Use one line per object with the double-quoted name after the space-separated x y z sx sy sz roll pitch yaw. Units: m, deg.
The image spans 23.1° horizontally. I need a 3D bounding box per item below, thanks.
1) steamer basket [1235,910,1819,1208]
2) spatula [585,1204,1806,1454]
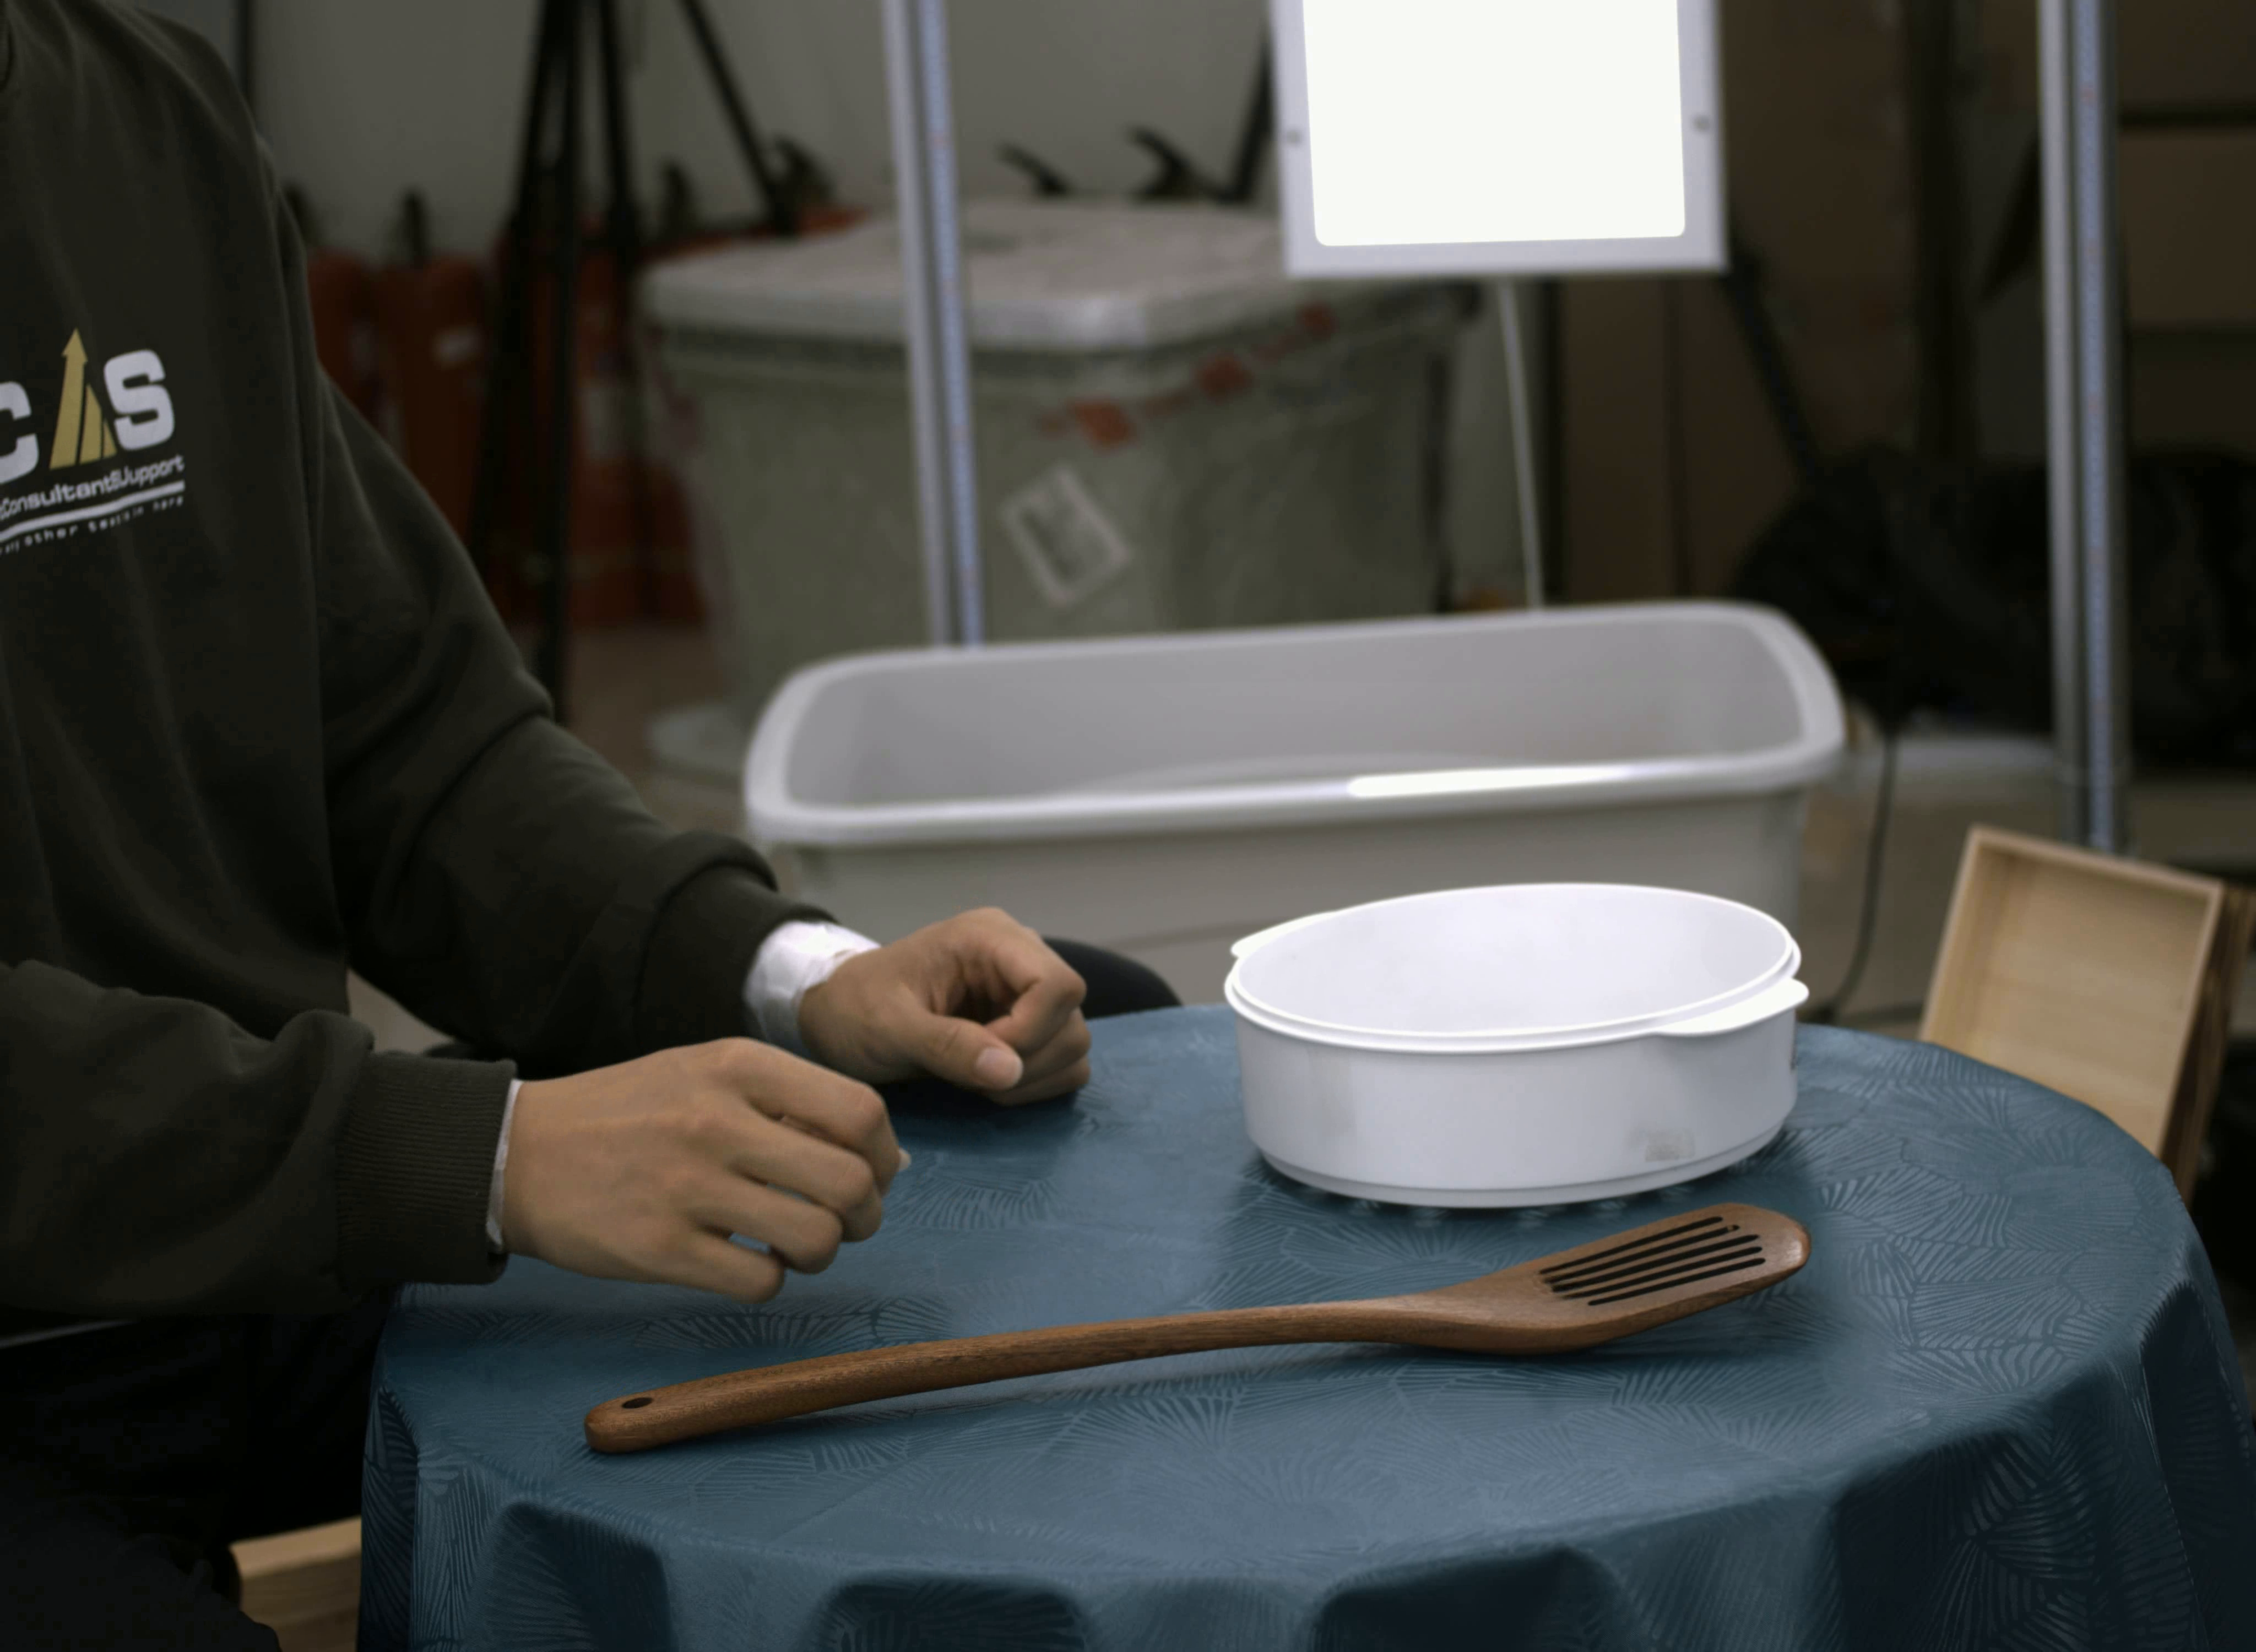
0.140 0.081 1.910 0.197 0.069 0.236 -15 13 -42 "steamer basket"
0.023 0.161 1.709 0.382 0.024 0.086 -7 11 -5 "spatula"
